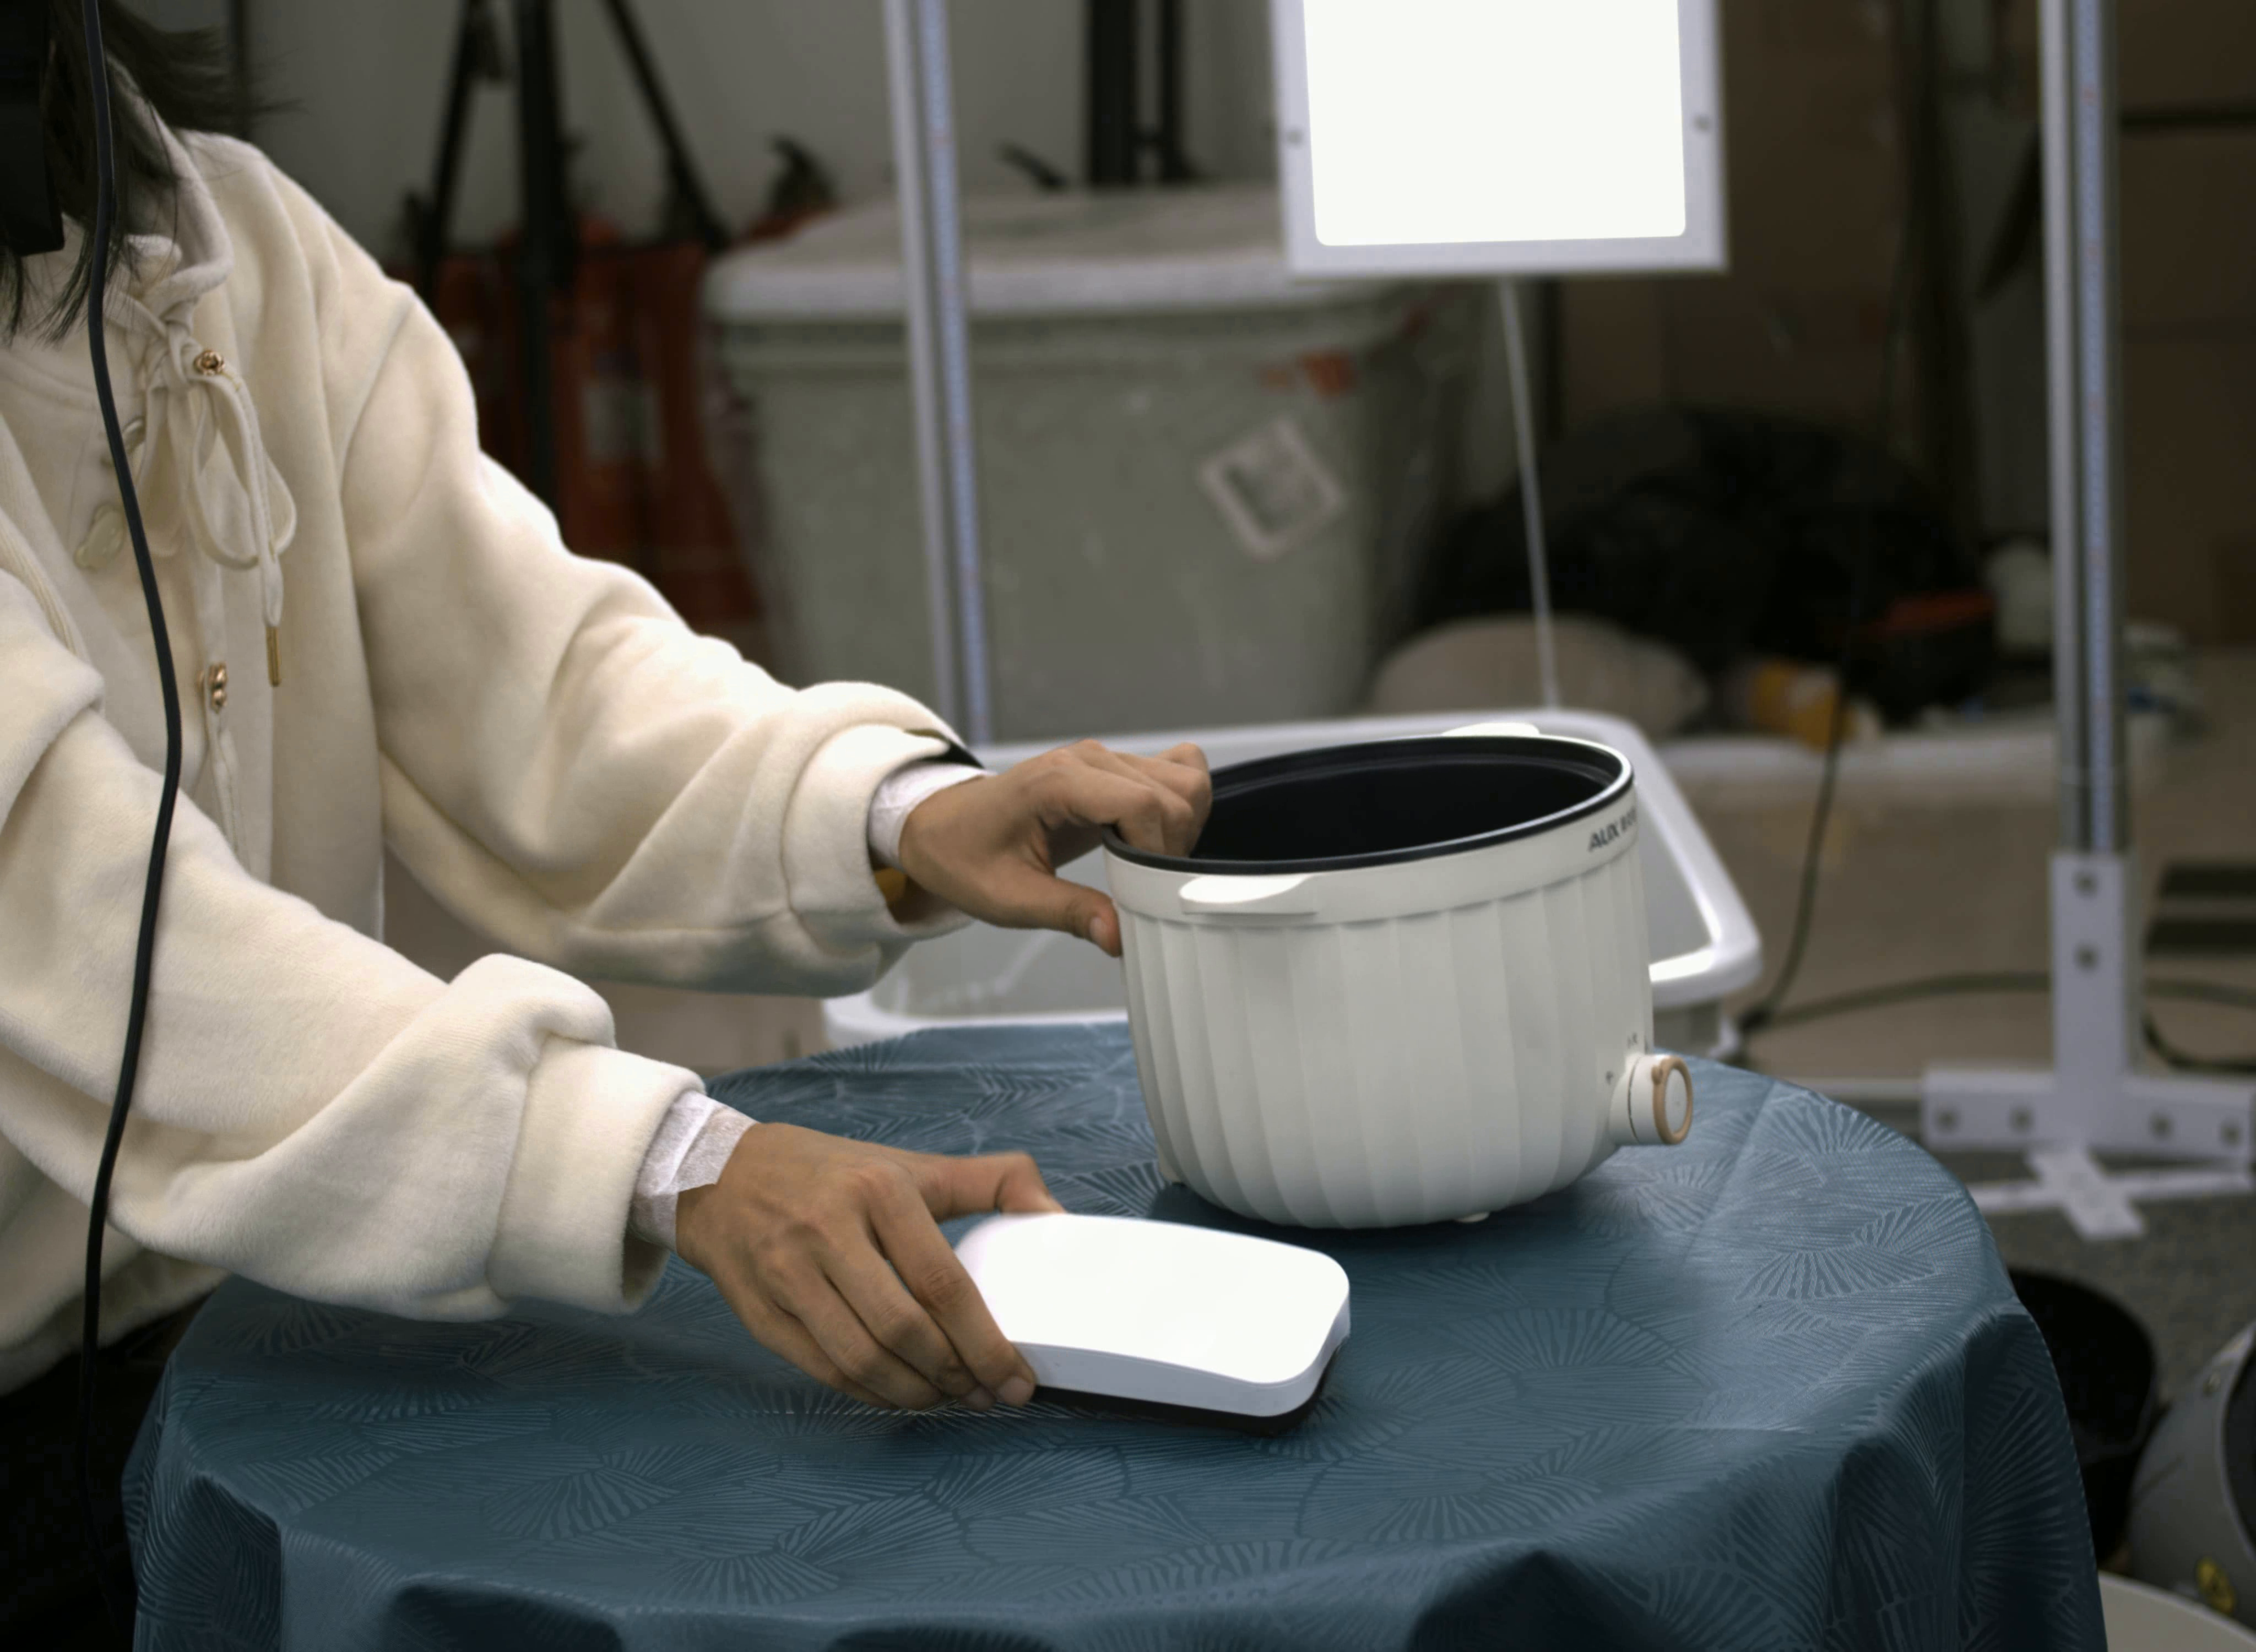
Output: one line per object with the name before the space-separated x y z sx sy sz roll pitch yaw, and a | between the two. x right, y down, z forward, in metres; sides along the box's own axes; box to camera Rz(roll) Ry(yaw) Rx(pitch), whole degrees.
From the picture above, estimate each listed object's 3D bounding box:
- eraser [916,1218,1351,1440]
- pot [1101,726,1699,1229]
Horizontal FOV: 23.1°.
eraser | 0.003 0.153 1.686 0.133 0.034 0.062 5 33 25
pot | 0.095 0.054 1.859 0.194 0.143 0.235 -4 14 28
